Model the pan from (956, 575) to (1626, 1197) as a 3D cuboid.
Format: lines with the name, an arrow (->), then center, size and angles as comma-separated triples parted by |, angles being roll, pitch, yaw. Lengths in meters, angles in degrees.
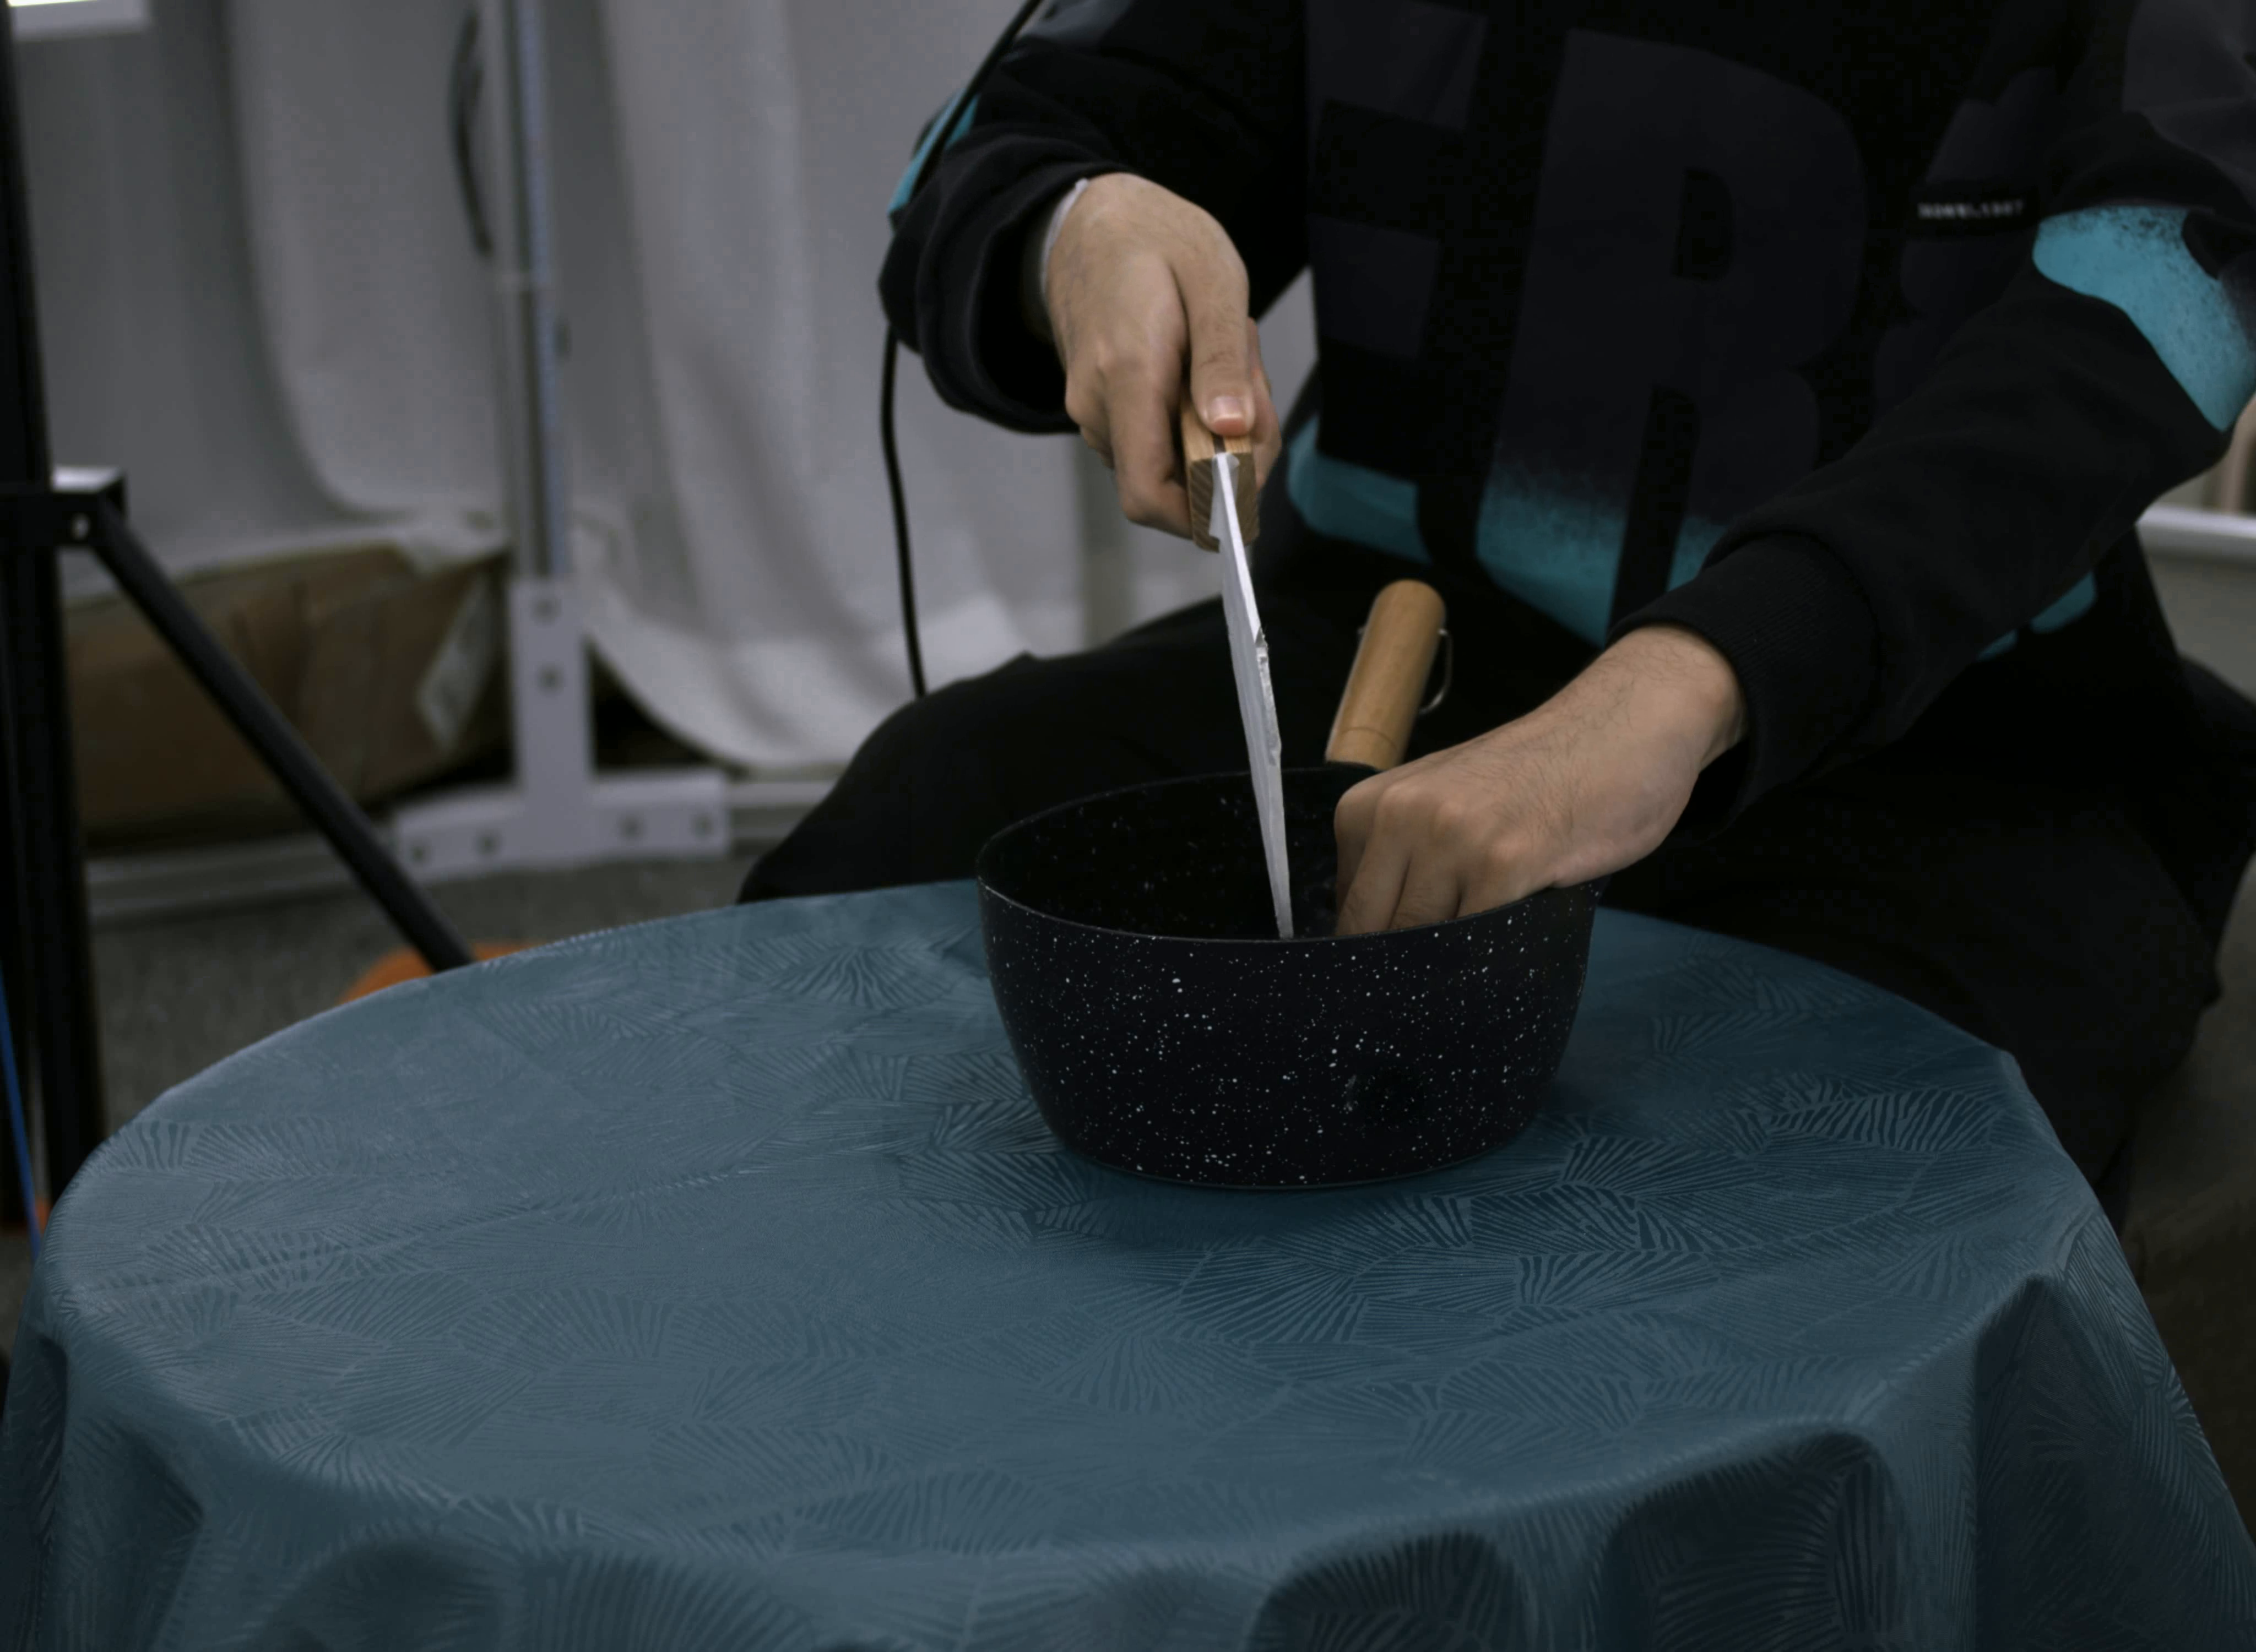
pan -> 0.062, 0.014, 1.679 | 0.208, 0.108, 0.341 | -1, 17, 11

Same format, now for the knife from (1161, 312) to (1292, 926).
knife -> 0.033, -0.075, 1.645 | 0.021, 0.113, 0.319 | -5, 33, -1
